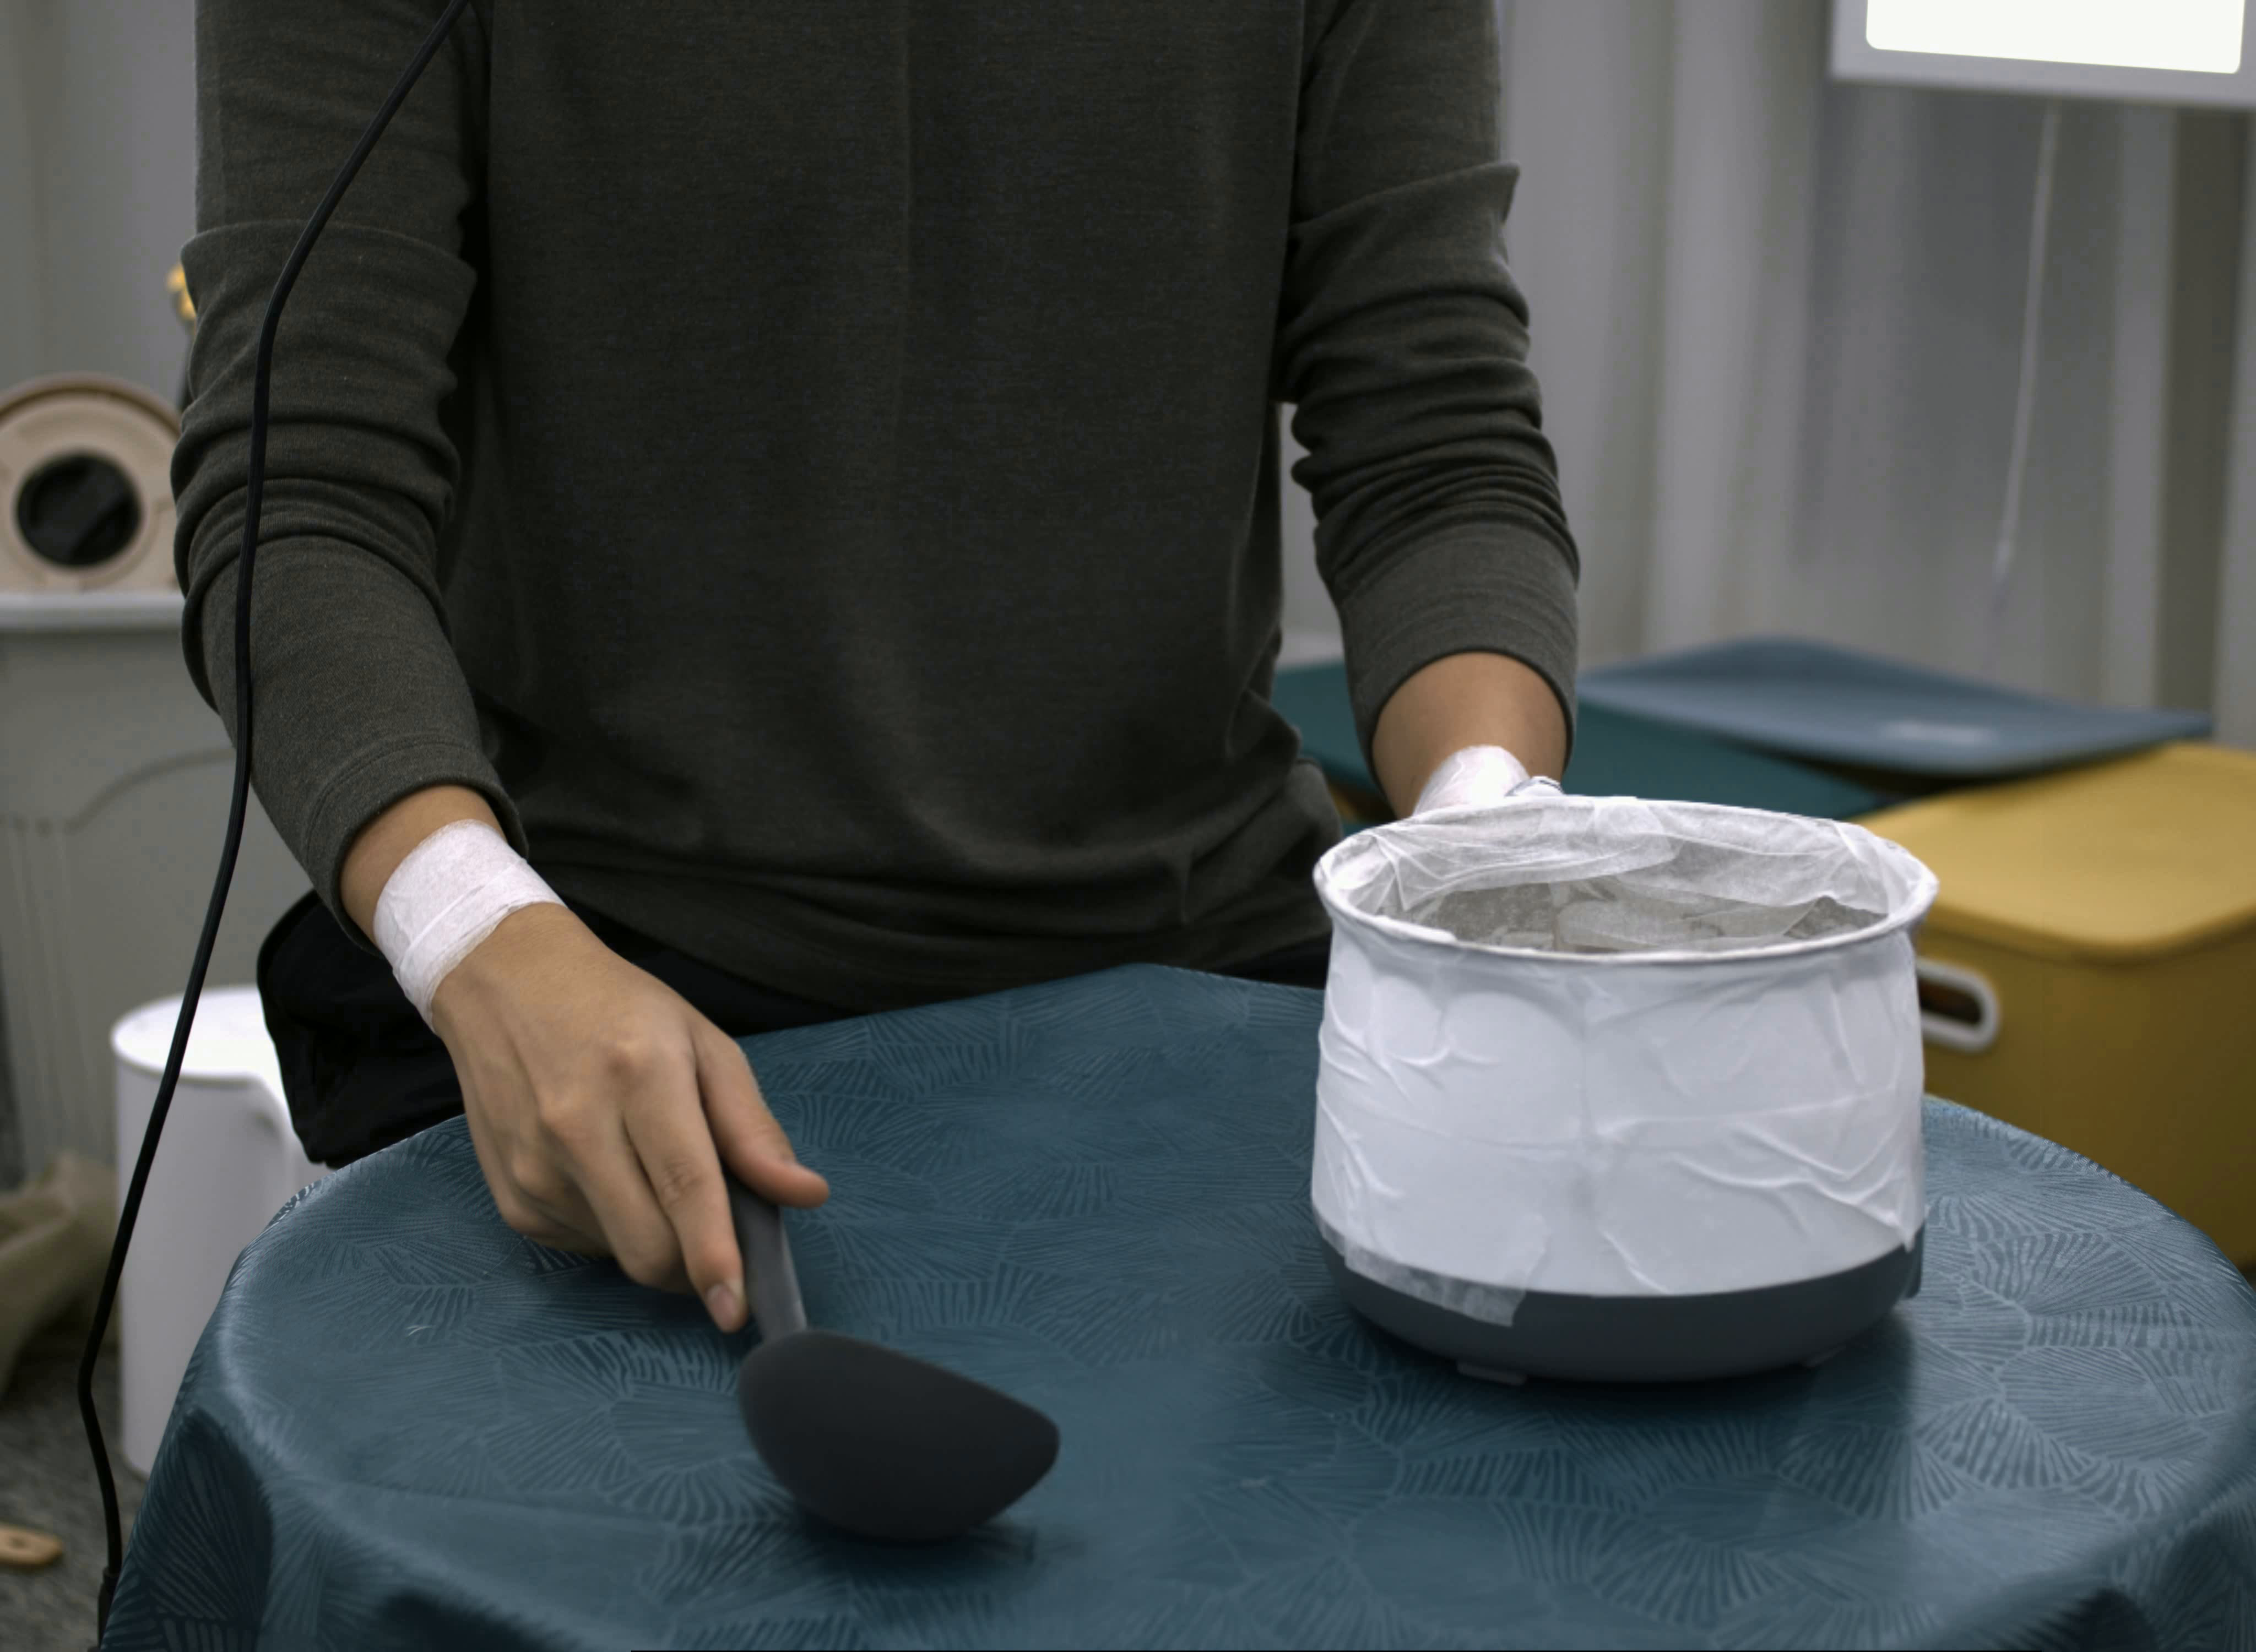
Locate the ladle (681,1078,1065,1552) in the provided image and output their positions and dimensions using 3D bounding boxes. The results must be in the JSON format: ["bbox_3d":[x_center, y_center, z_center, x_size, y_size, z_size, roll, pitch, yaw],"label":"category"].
[{"bbox_3d":[-0.086,0.115,1.459,0.087,0.064,0.311,31,11,-20],"label":"ladle"}]

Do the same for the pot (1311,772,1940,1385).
[{"bbox_3d":[0.135,0.068,1.531,0.179,0.137,0.232,-2,15,-11],"label":"pot"}]
